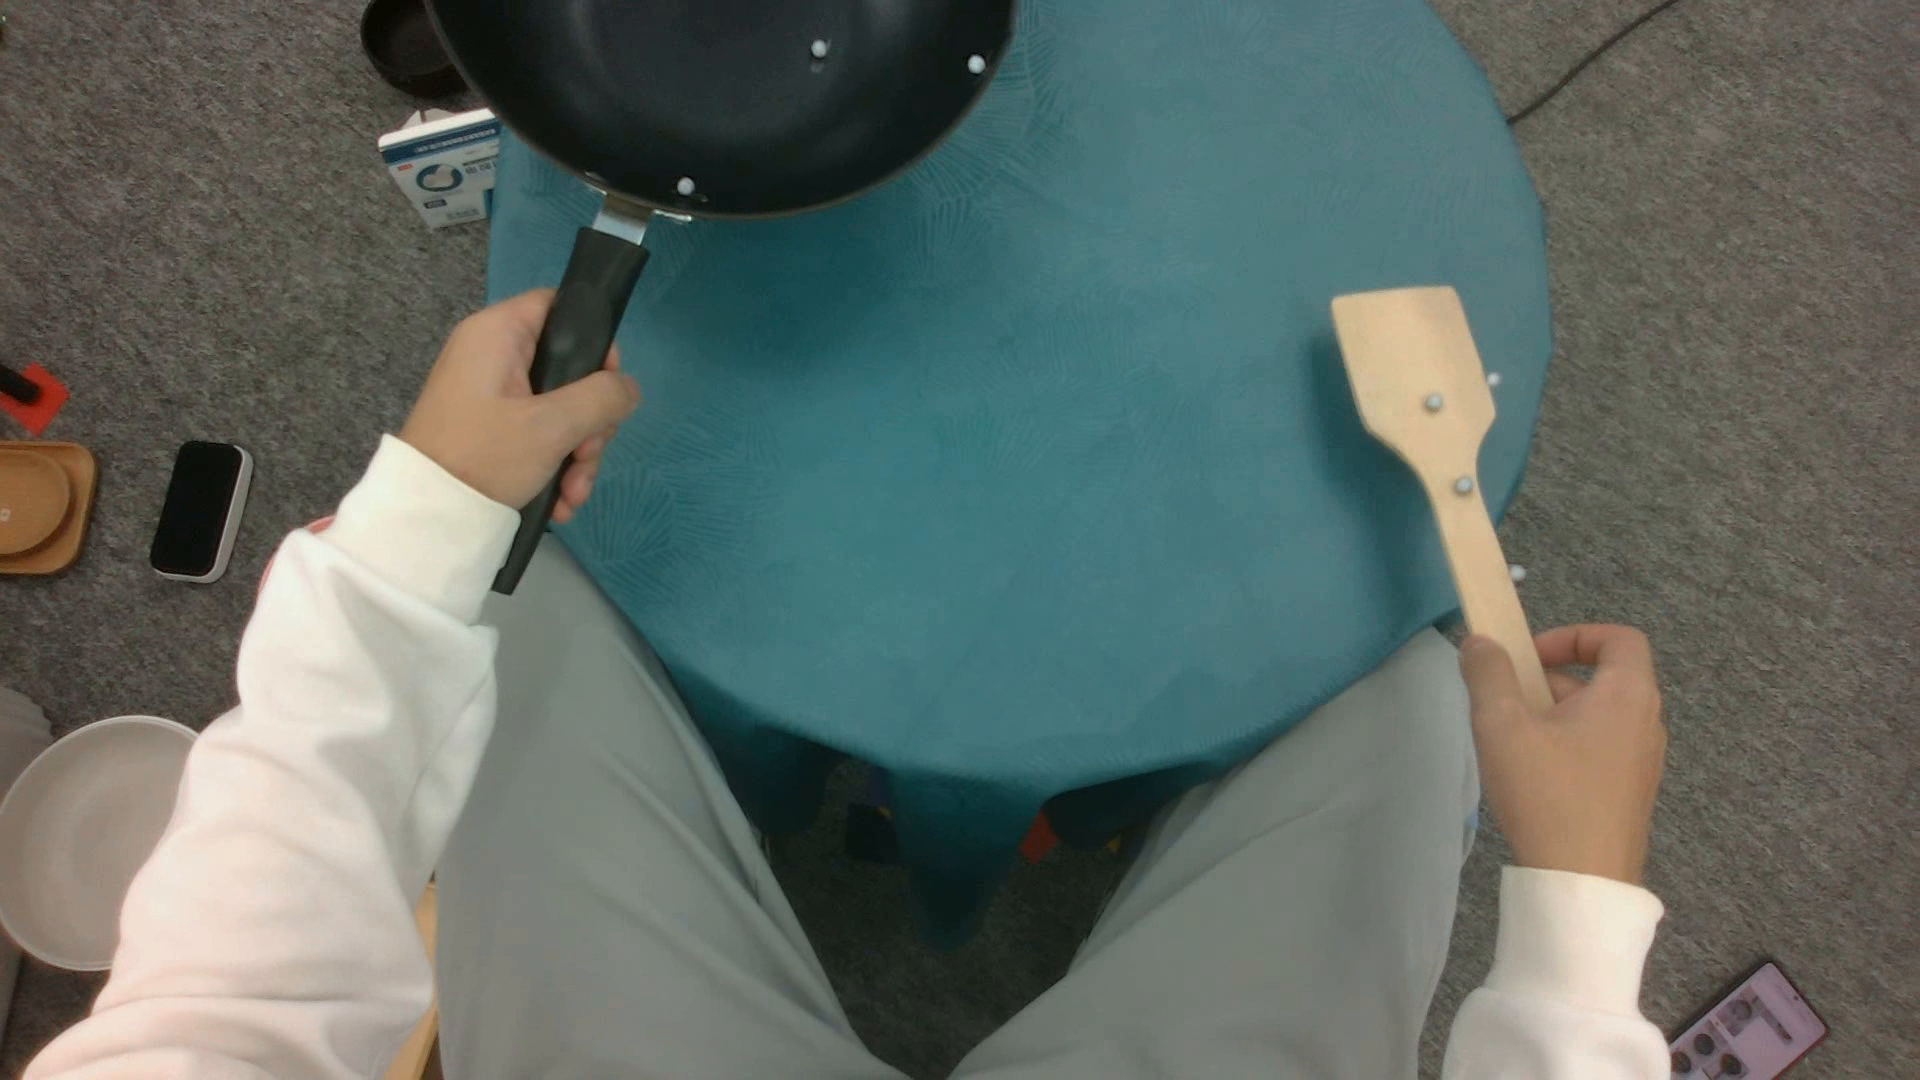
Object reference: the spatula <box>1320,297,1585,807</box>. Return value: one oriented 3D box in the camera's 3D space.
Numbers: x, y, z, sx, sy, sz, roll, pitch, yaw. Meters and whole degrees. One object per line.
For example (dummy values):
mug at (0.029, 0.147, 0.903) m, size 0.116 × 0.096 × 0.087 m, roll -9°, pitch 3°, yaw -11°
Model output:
spatula at (0.253, -0.006, 0.694) m, size 0.072 × 0.010 × 0.294 m, roll -7°, pitch 60°, yaw -3°

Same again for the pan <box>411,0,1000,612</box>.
pan at (-0.150, -0.184, 0.690) m, size 0.288 × 0.086 × 0.464 m, roll 16°, pitch 81°, yaw -5°
